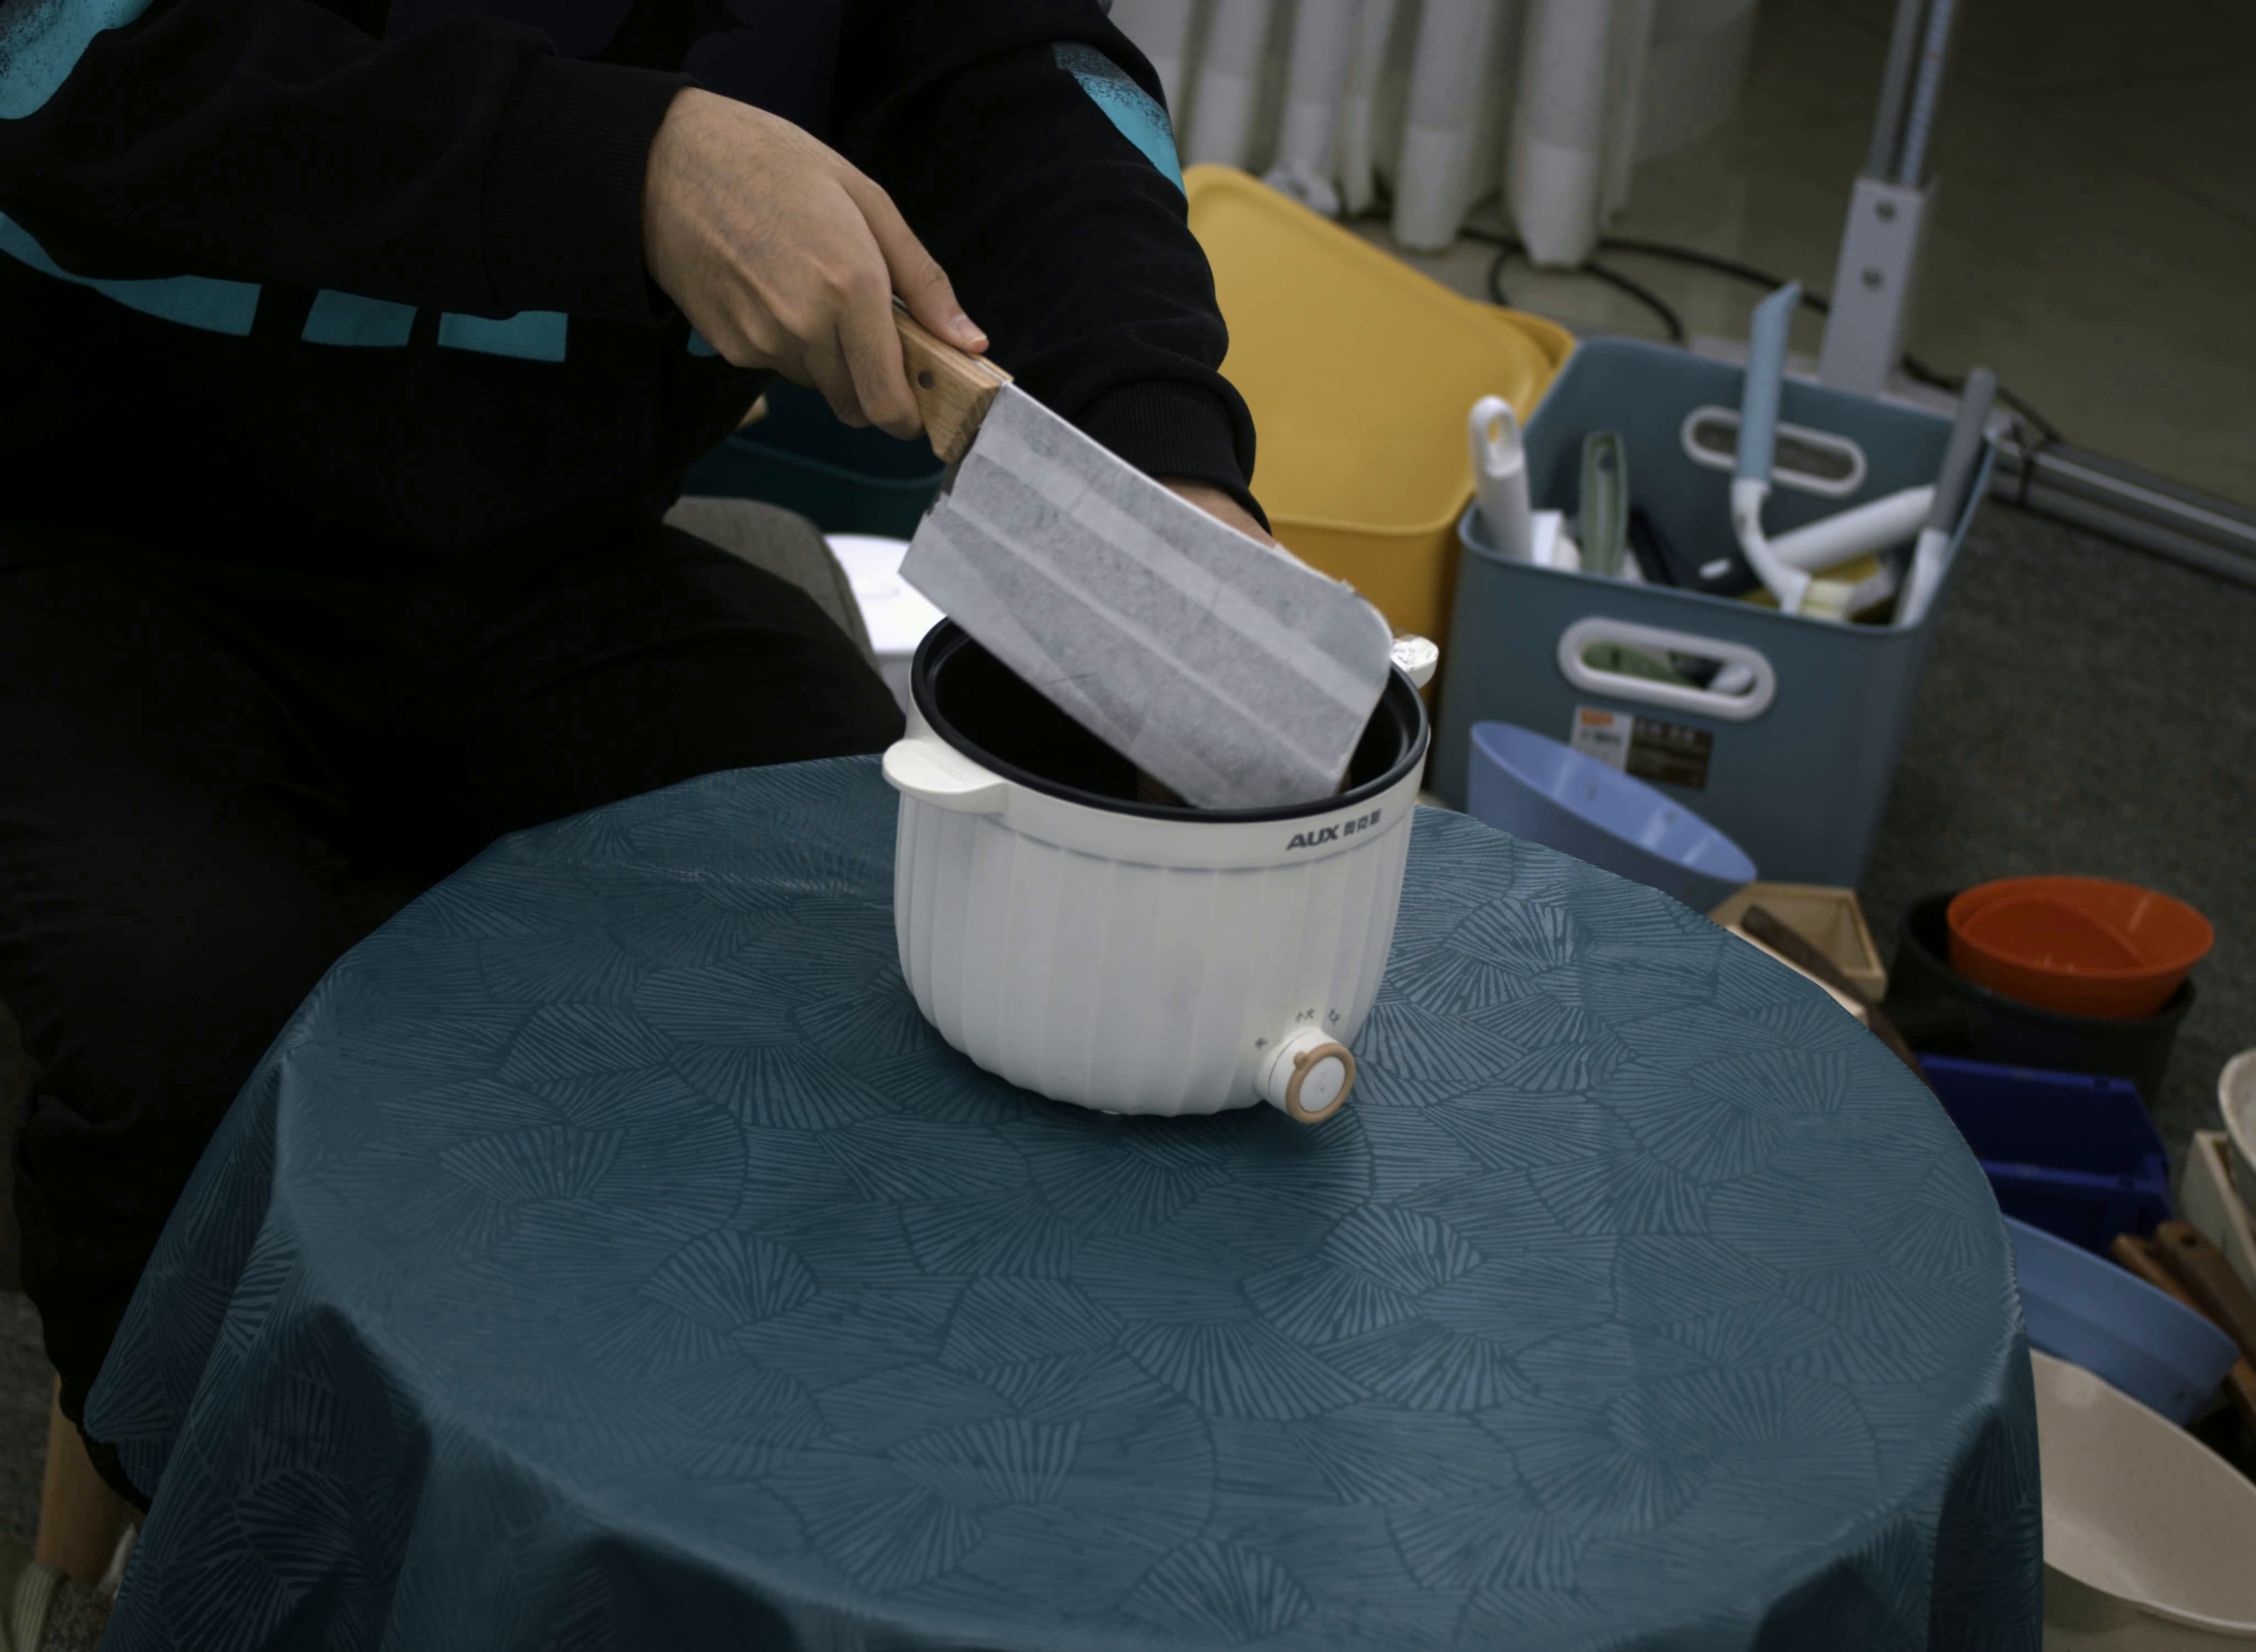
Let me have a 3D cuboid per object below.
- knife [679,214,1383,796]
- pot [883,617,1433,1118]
[{"bbox_3d":[-0.038,-0.112,1.841,0.317,0.114,0.021,40,27,19],"label":"knife"},{"bbox_3d":[0.012,0.013,1.868,0.239,0.142,0.192,-17,32,-36],"label":"pot"}]
